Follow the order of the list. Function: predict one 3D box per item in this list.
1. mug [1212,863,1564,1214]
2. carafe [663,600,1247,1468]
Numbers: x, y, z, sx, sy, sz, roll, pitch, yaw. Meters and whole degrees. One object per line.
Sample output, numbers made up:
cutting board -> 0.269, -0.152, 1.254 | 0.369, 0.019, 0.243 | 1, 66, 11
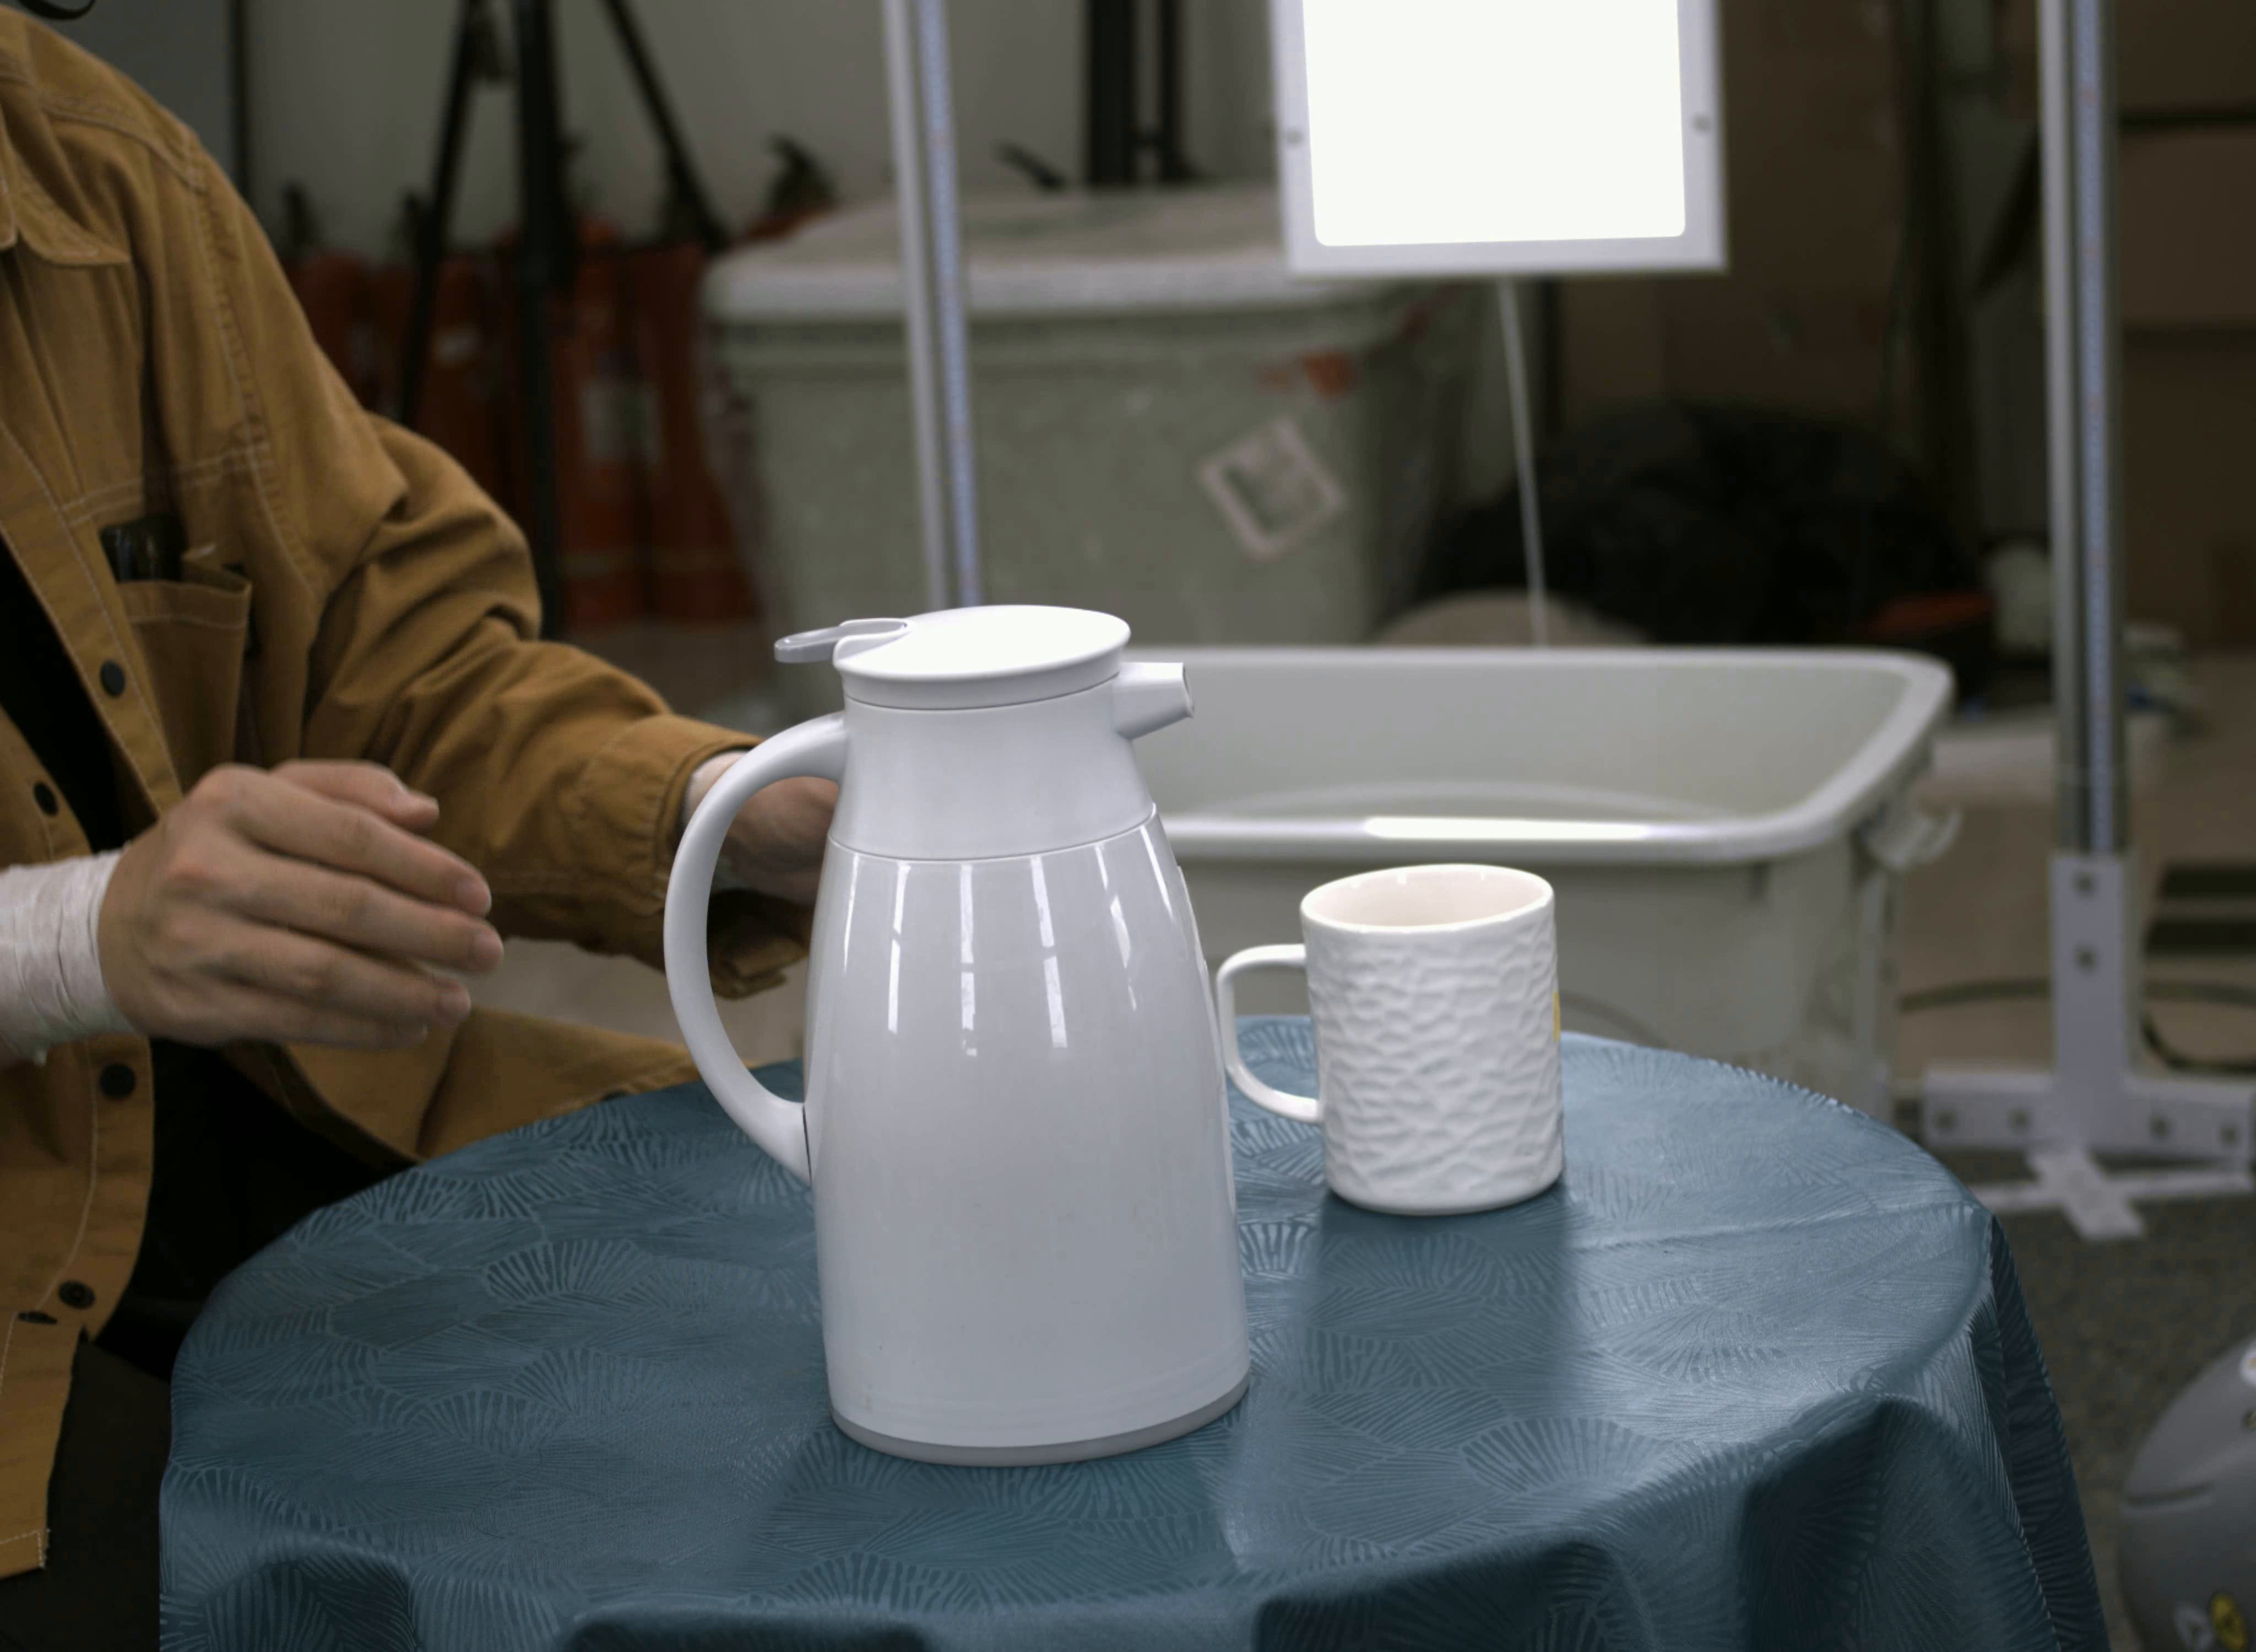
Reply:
mug -> 0.089, 0.073, 1.869 | 0.119, 0.102, 0.084 | -2, 13, 10
carafe -> -0.056, 0.058, 1.678 | 0.167, 0.249, 0.132 | -4, 14, 2
